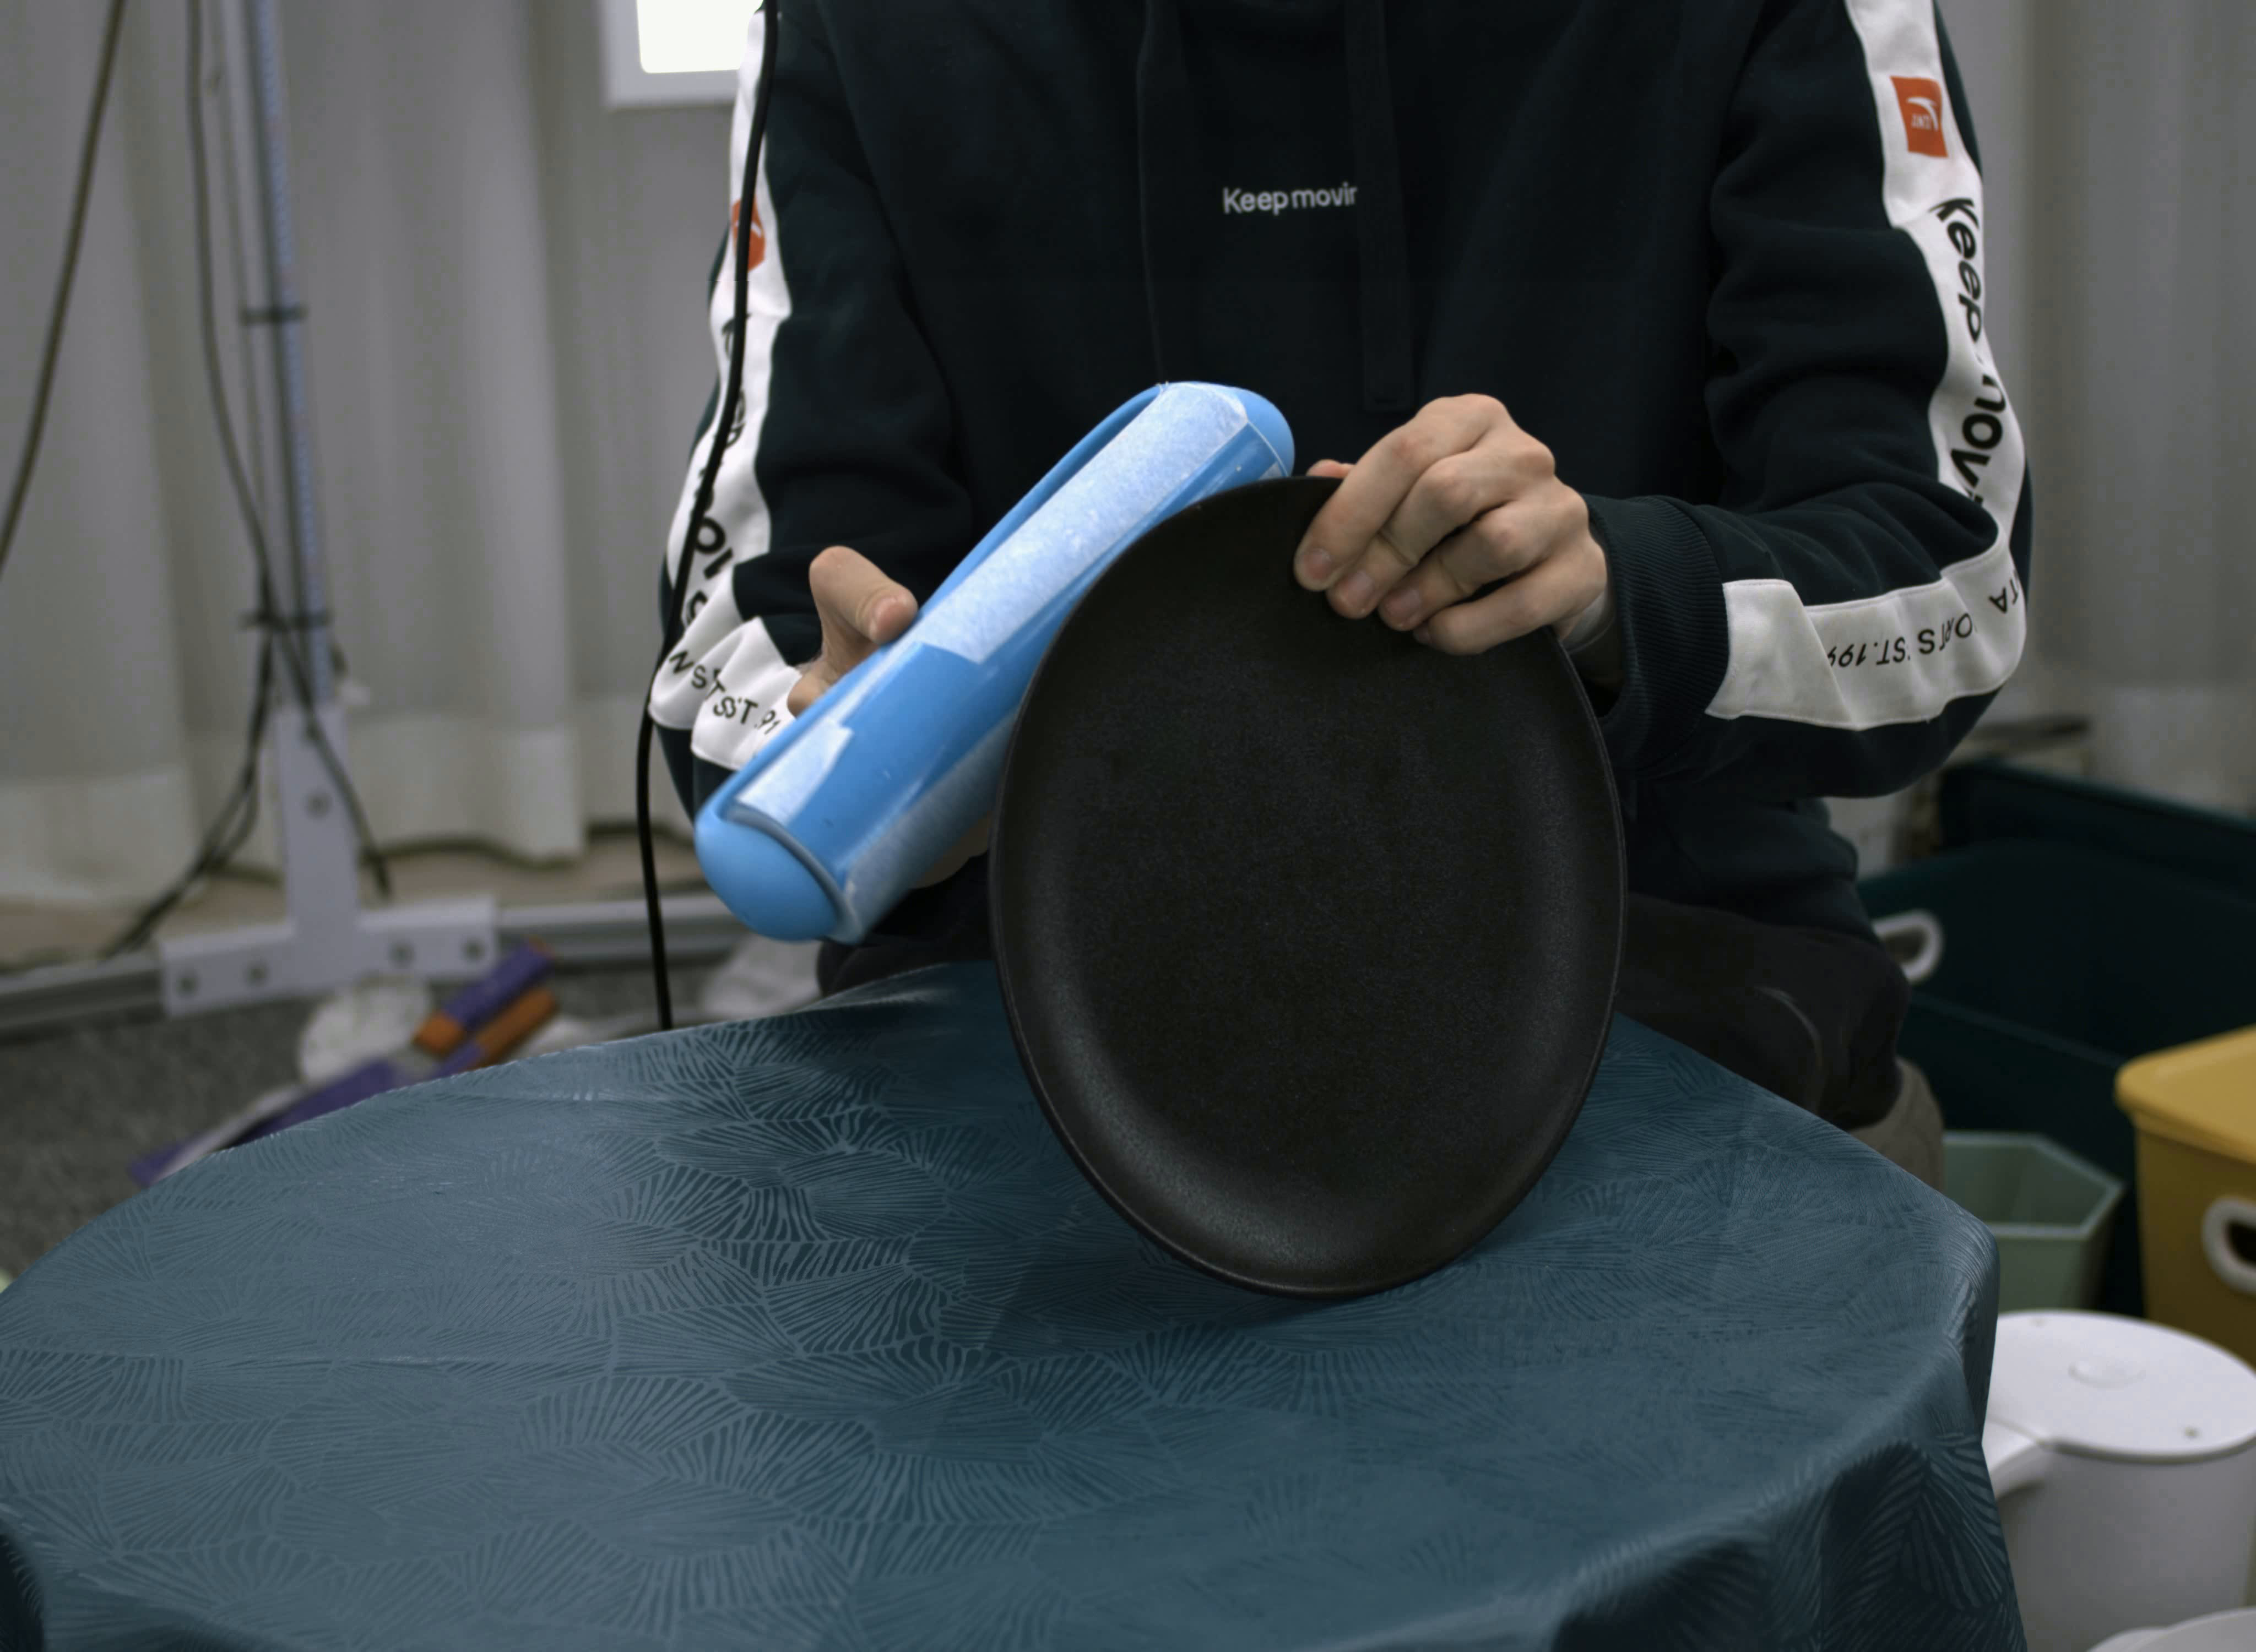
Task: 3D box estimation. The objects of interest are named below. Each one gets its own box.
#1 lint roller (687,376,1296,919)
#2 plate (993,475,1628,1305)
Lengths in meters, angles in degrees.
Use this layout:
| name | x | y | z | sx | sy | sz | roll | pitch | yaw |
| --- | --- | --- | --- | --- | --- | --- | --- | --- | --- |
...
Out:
| name | x | y | z | sx | sy | sz | roll | pitch | yaw |
| --- | --- | --- | --- | --- | --- | --- | --- | --- | --- |
| lint roller | -0.050 | -0.035 | 1.653 | 0.230 | 0.068 | 0.179 | -44 | -3 | -25 |
| plate | 0.052 | 0.018 | 1.616 | 0.243 | 0.244 | 0.023 | -14 | 5 | -38 |
